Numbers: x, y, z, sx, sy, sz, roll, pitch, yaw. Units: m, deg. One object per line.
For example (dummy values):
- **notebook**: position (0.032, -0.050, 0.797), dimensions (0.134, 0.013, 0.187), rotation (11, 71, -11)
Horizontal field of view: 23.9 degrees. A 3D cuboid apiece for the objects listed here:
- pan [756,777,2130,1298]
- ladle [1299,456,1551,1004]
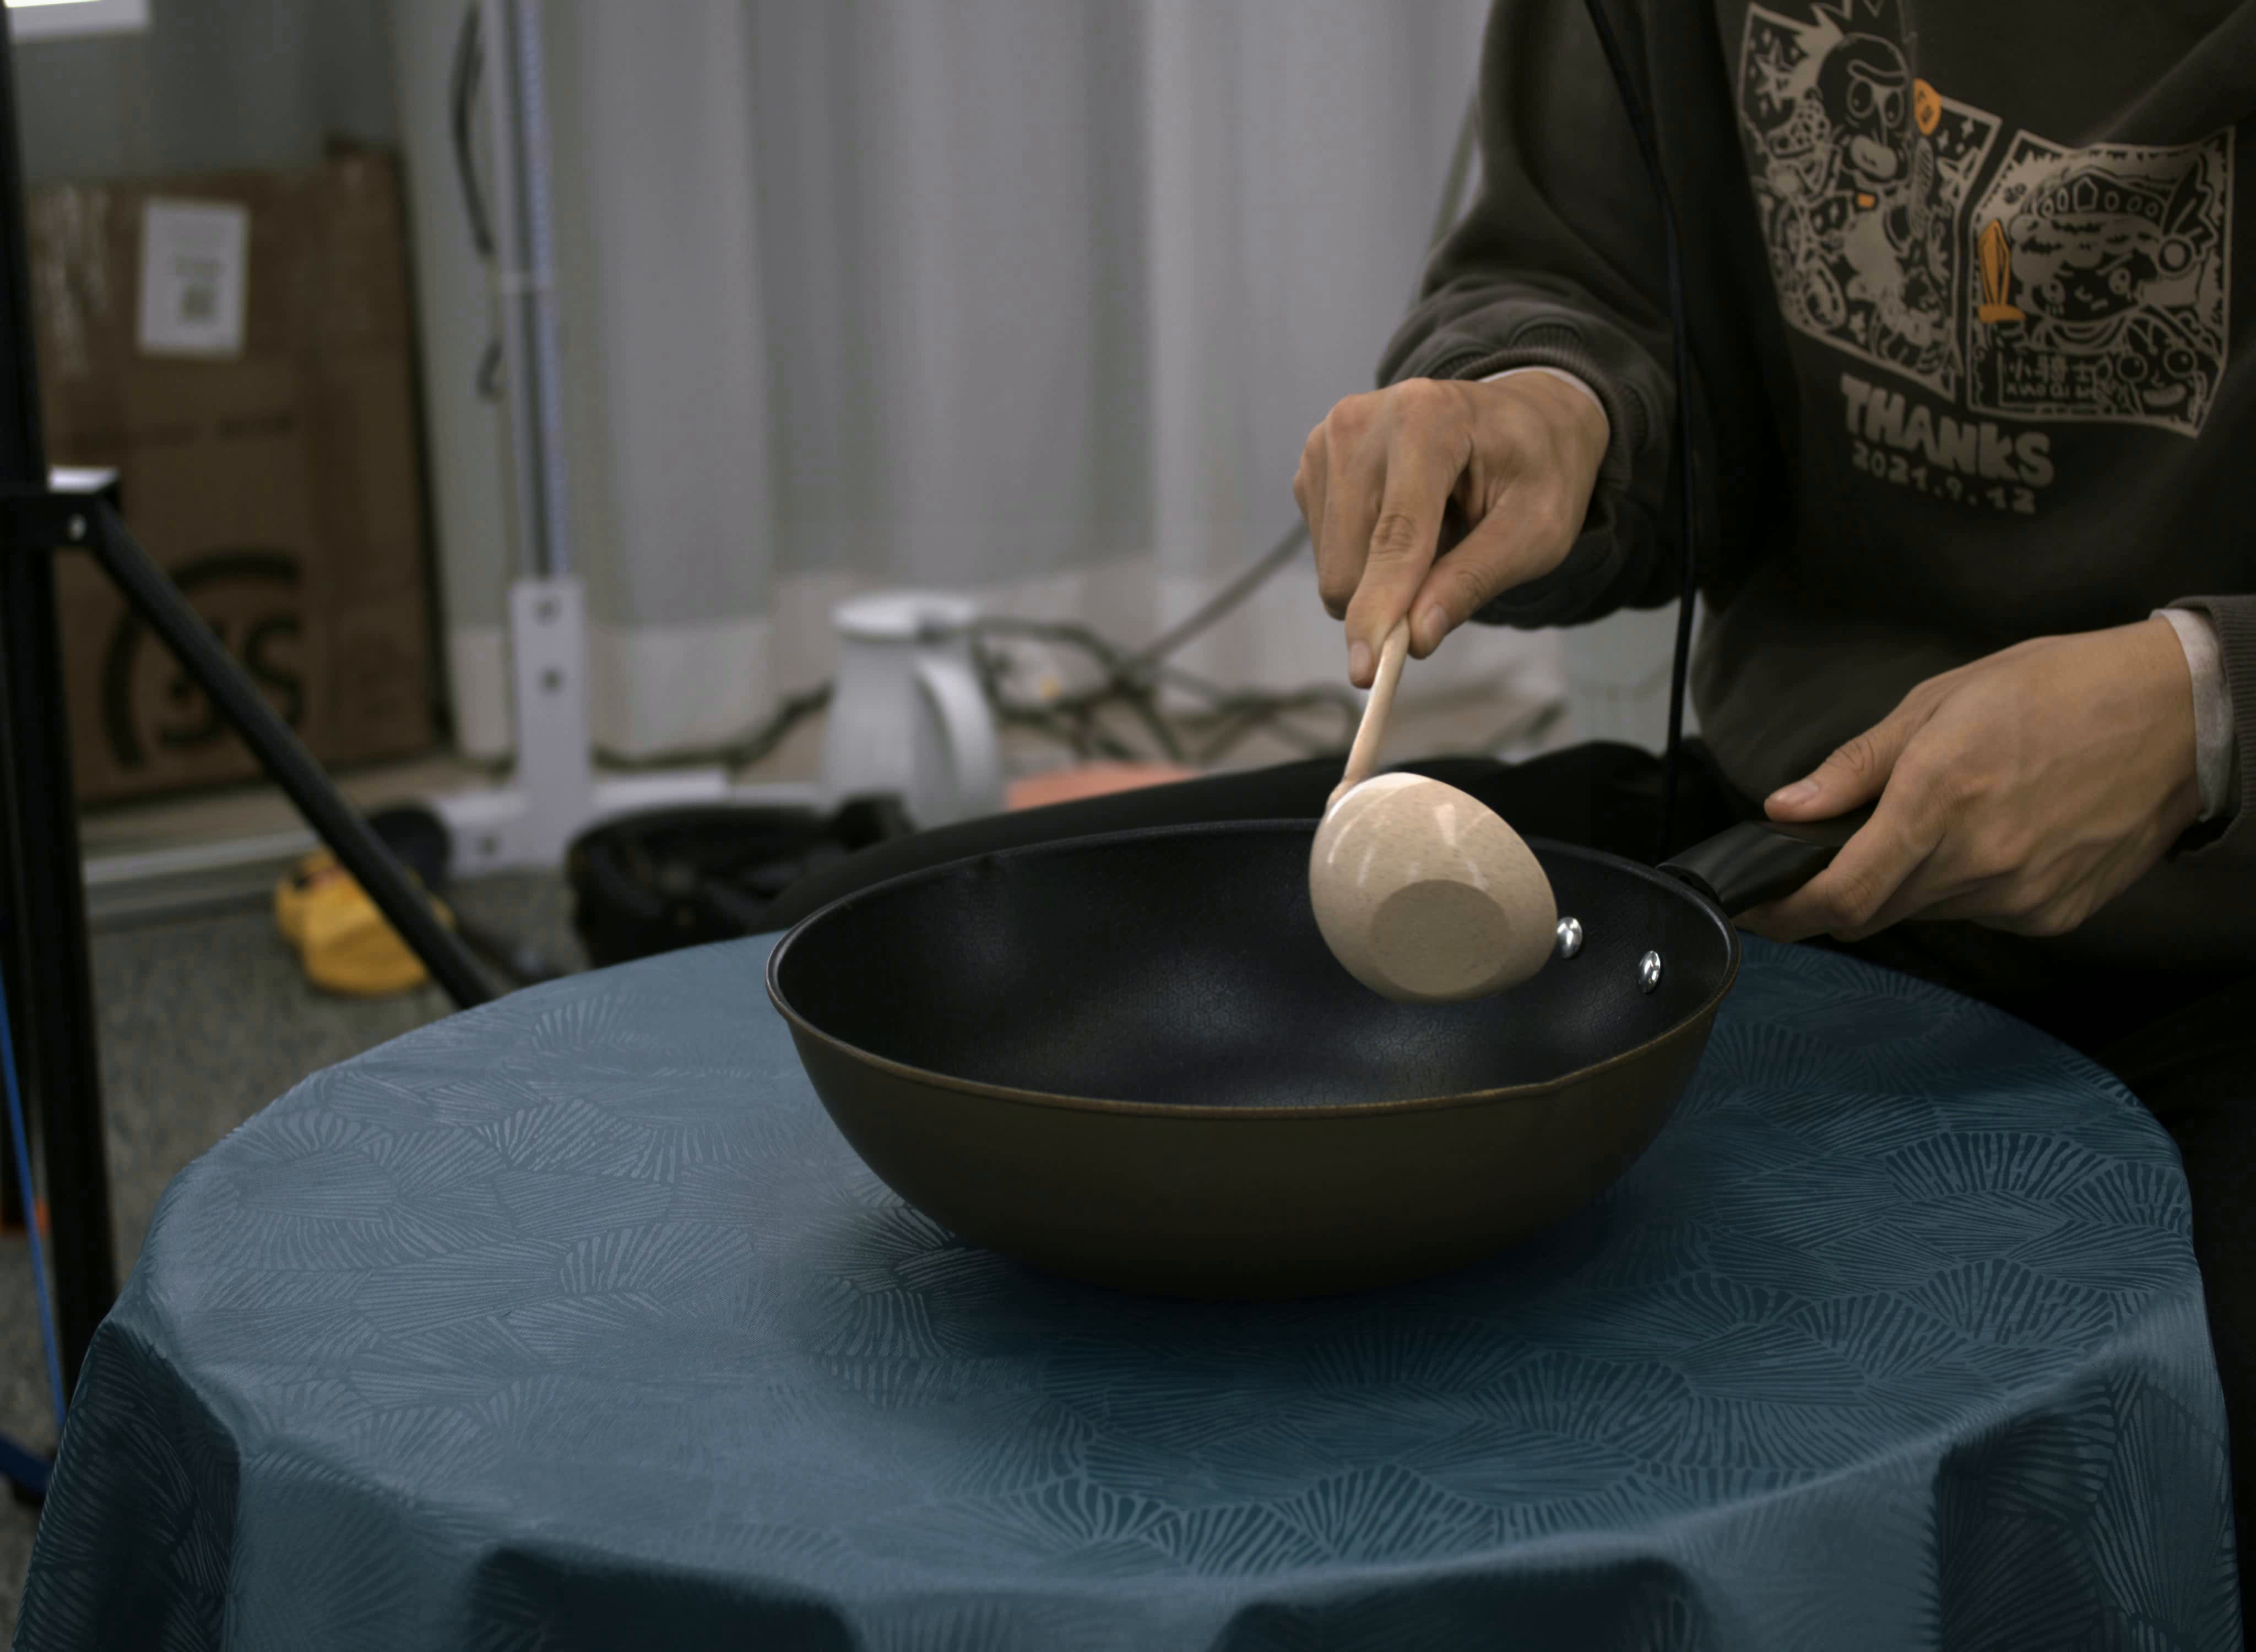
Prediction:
- **pan**: position (0.111, 0.057, 1.572), dimensions (0.453, 0.087, 0.294), rotation (-10, 17, -29)
- **ladle**: position (0.096, -0.043, 1.568), dimensions (0.073, 0.071, 0.255), rotation (-12, 34, 18)
